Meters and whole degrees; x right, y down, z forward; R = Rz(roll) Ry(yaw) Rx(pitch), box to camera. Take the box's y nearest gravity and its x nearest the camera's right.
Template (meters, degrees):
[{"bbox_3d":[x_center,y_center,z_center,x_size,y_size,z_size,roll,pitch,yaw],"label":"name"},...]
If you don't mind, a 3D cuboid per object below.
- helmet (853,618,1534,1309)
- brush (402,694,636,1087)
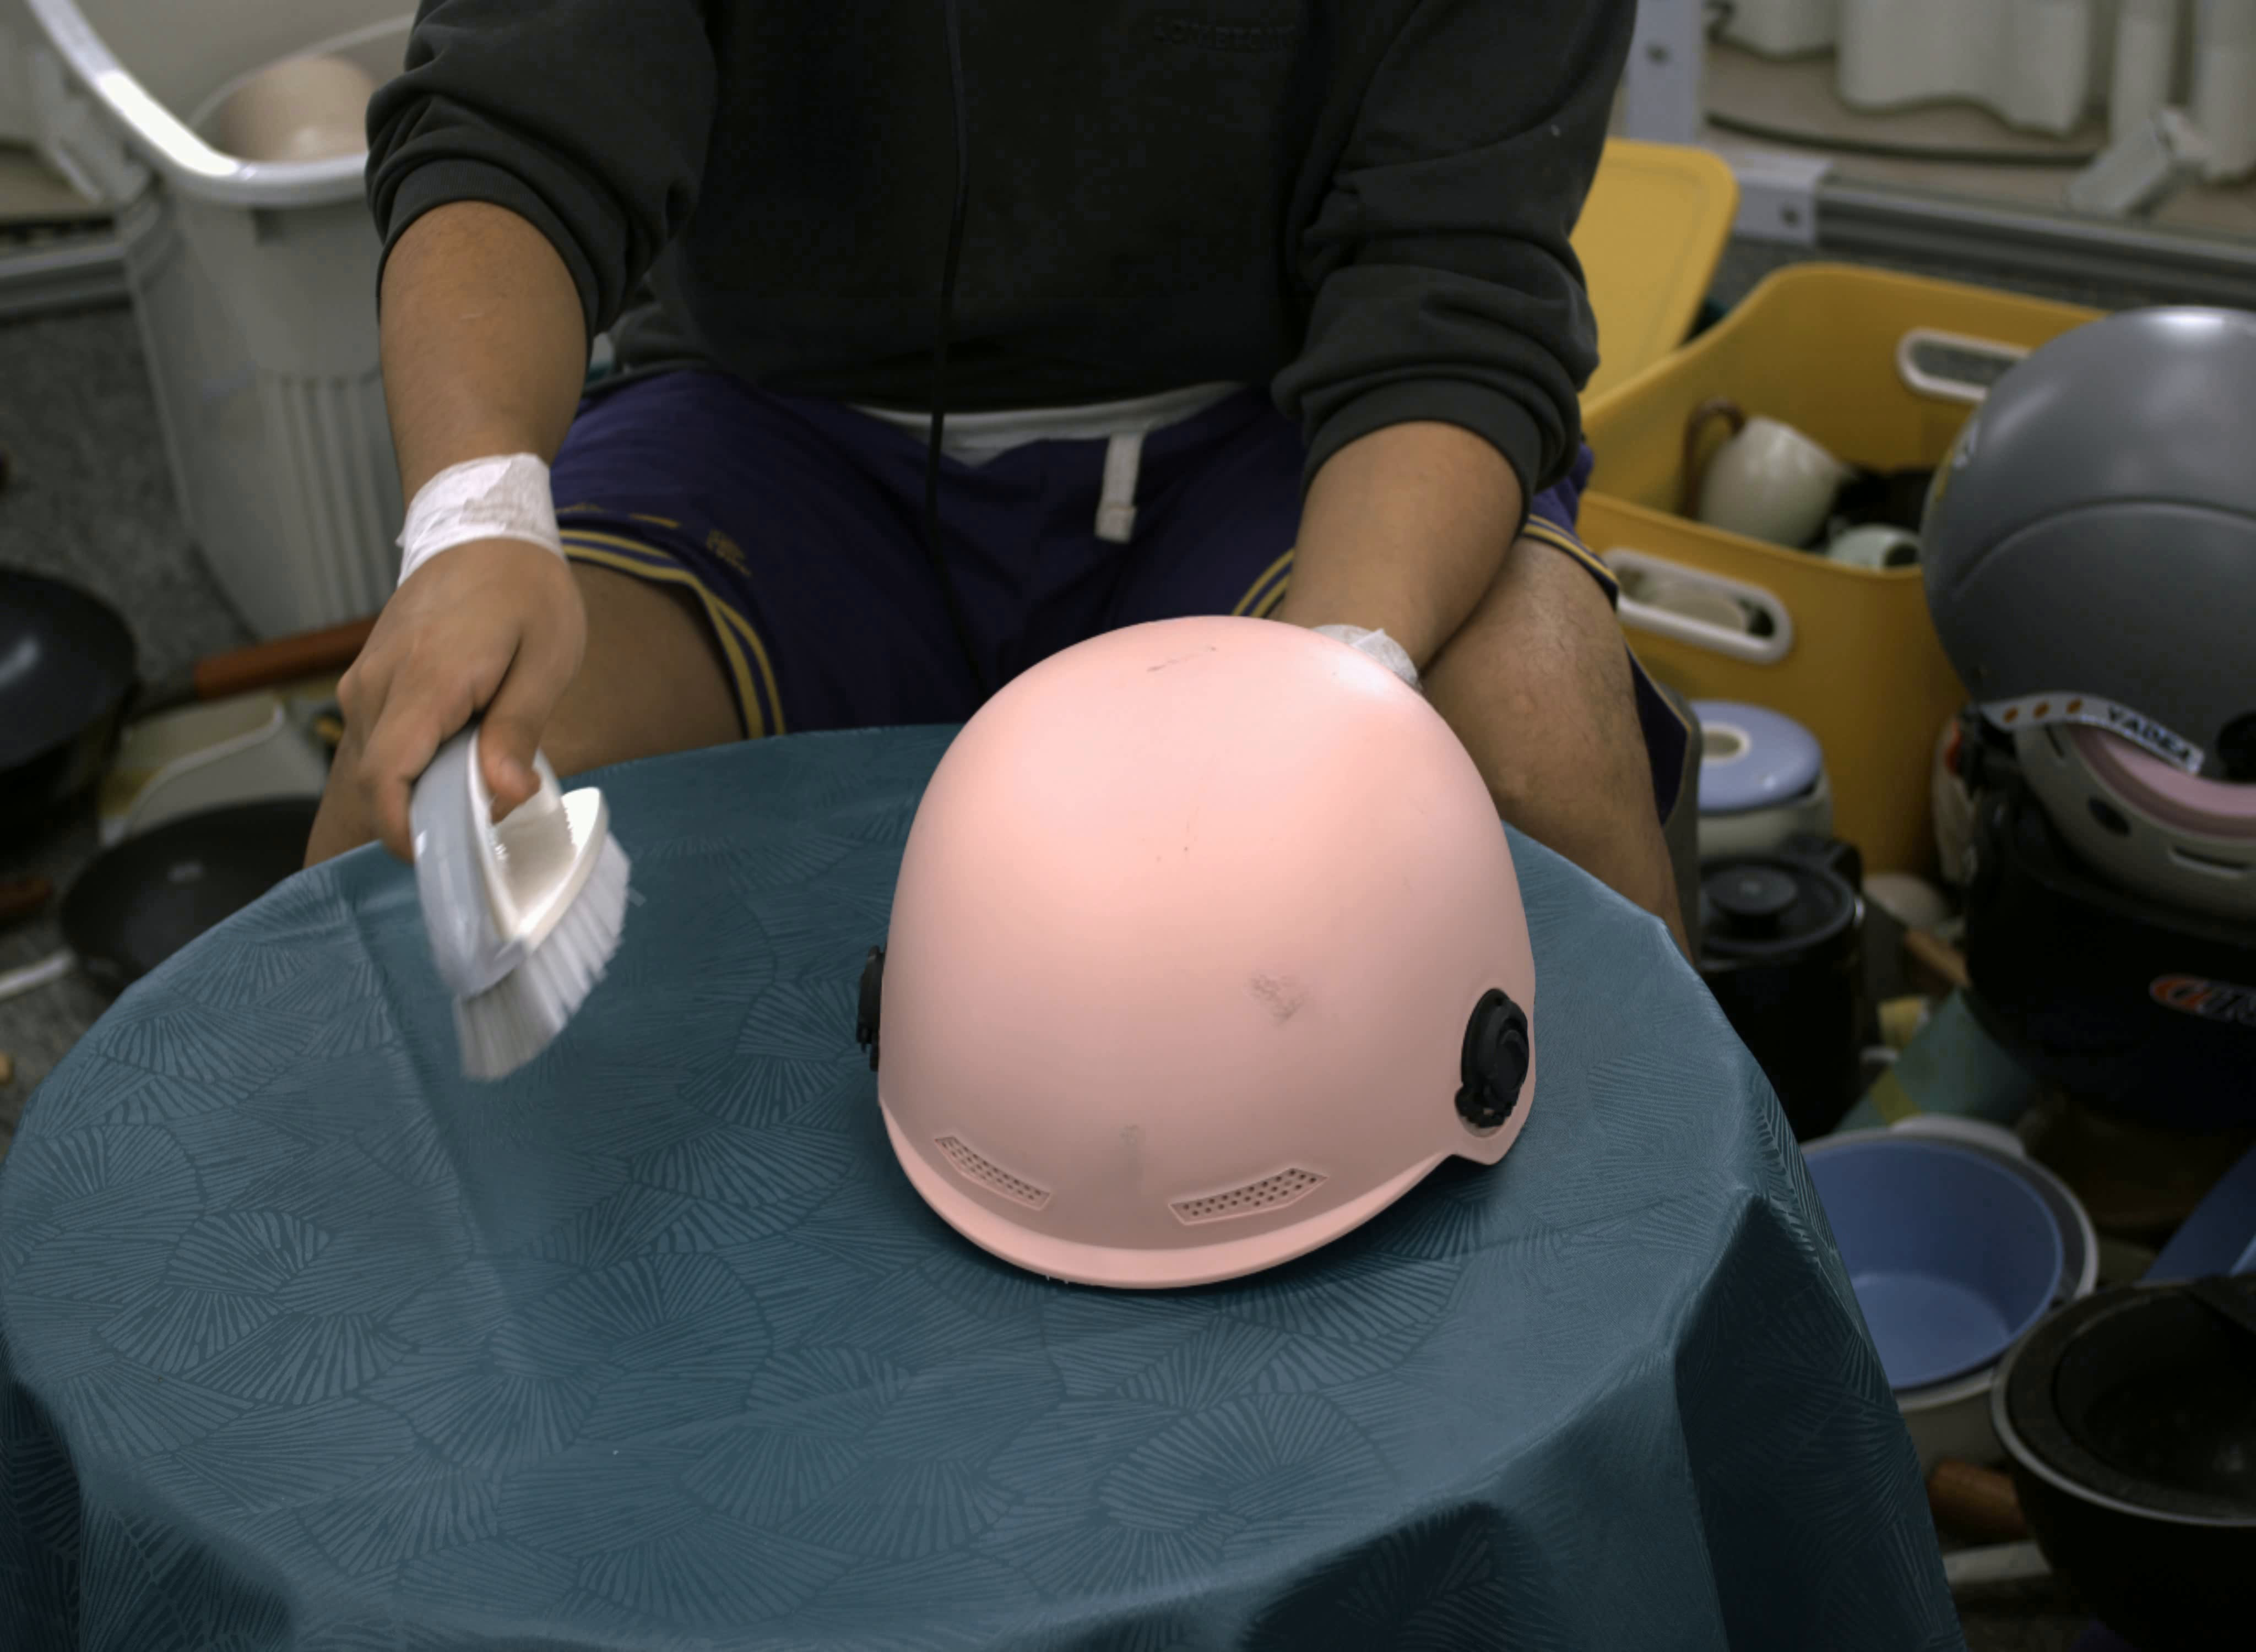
[{"bbox_3d":[0.022,0.026,1.882,0.232,0.157,0.271,5,33,13],"label":"helmet"},{"bbox_3d":[-0.212,0.015,1.876,0.061,0.093,0.178,-18,21,11],"label":"brush"}]
